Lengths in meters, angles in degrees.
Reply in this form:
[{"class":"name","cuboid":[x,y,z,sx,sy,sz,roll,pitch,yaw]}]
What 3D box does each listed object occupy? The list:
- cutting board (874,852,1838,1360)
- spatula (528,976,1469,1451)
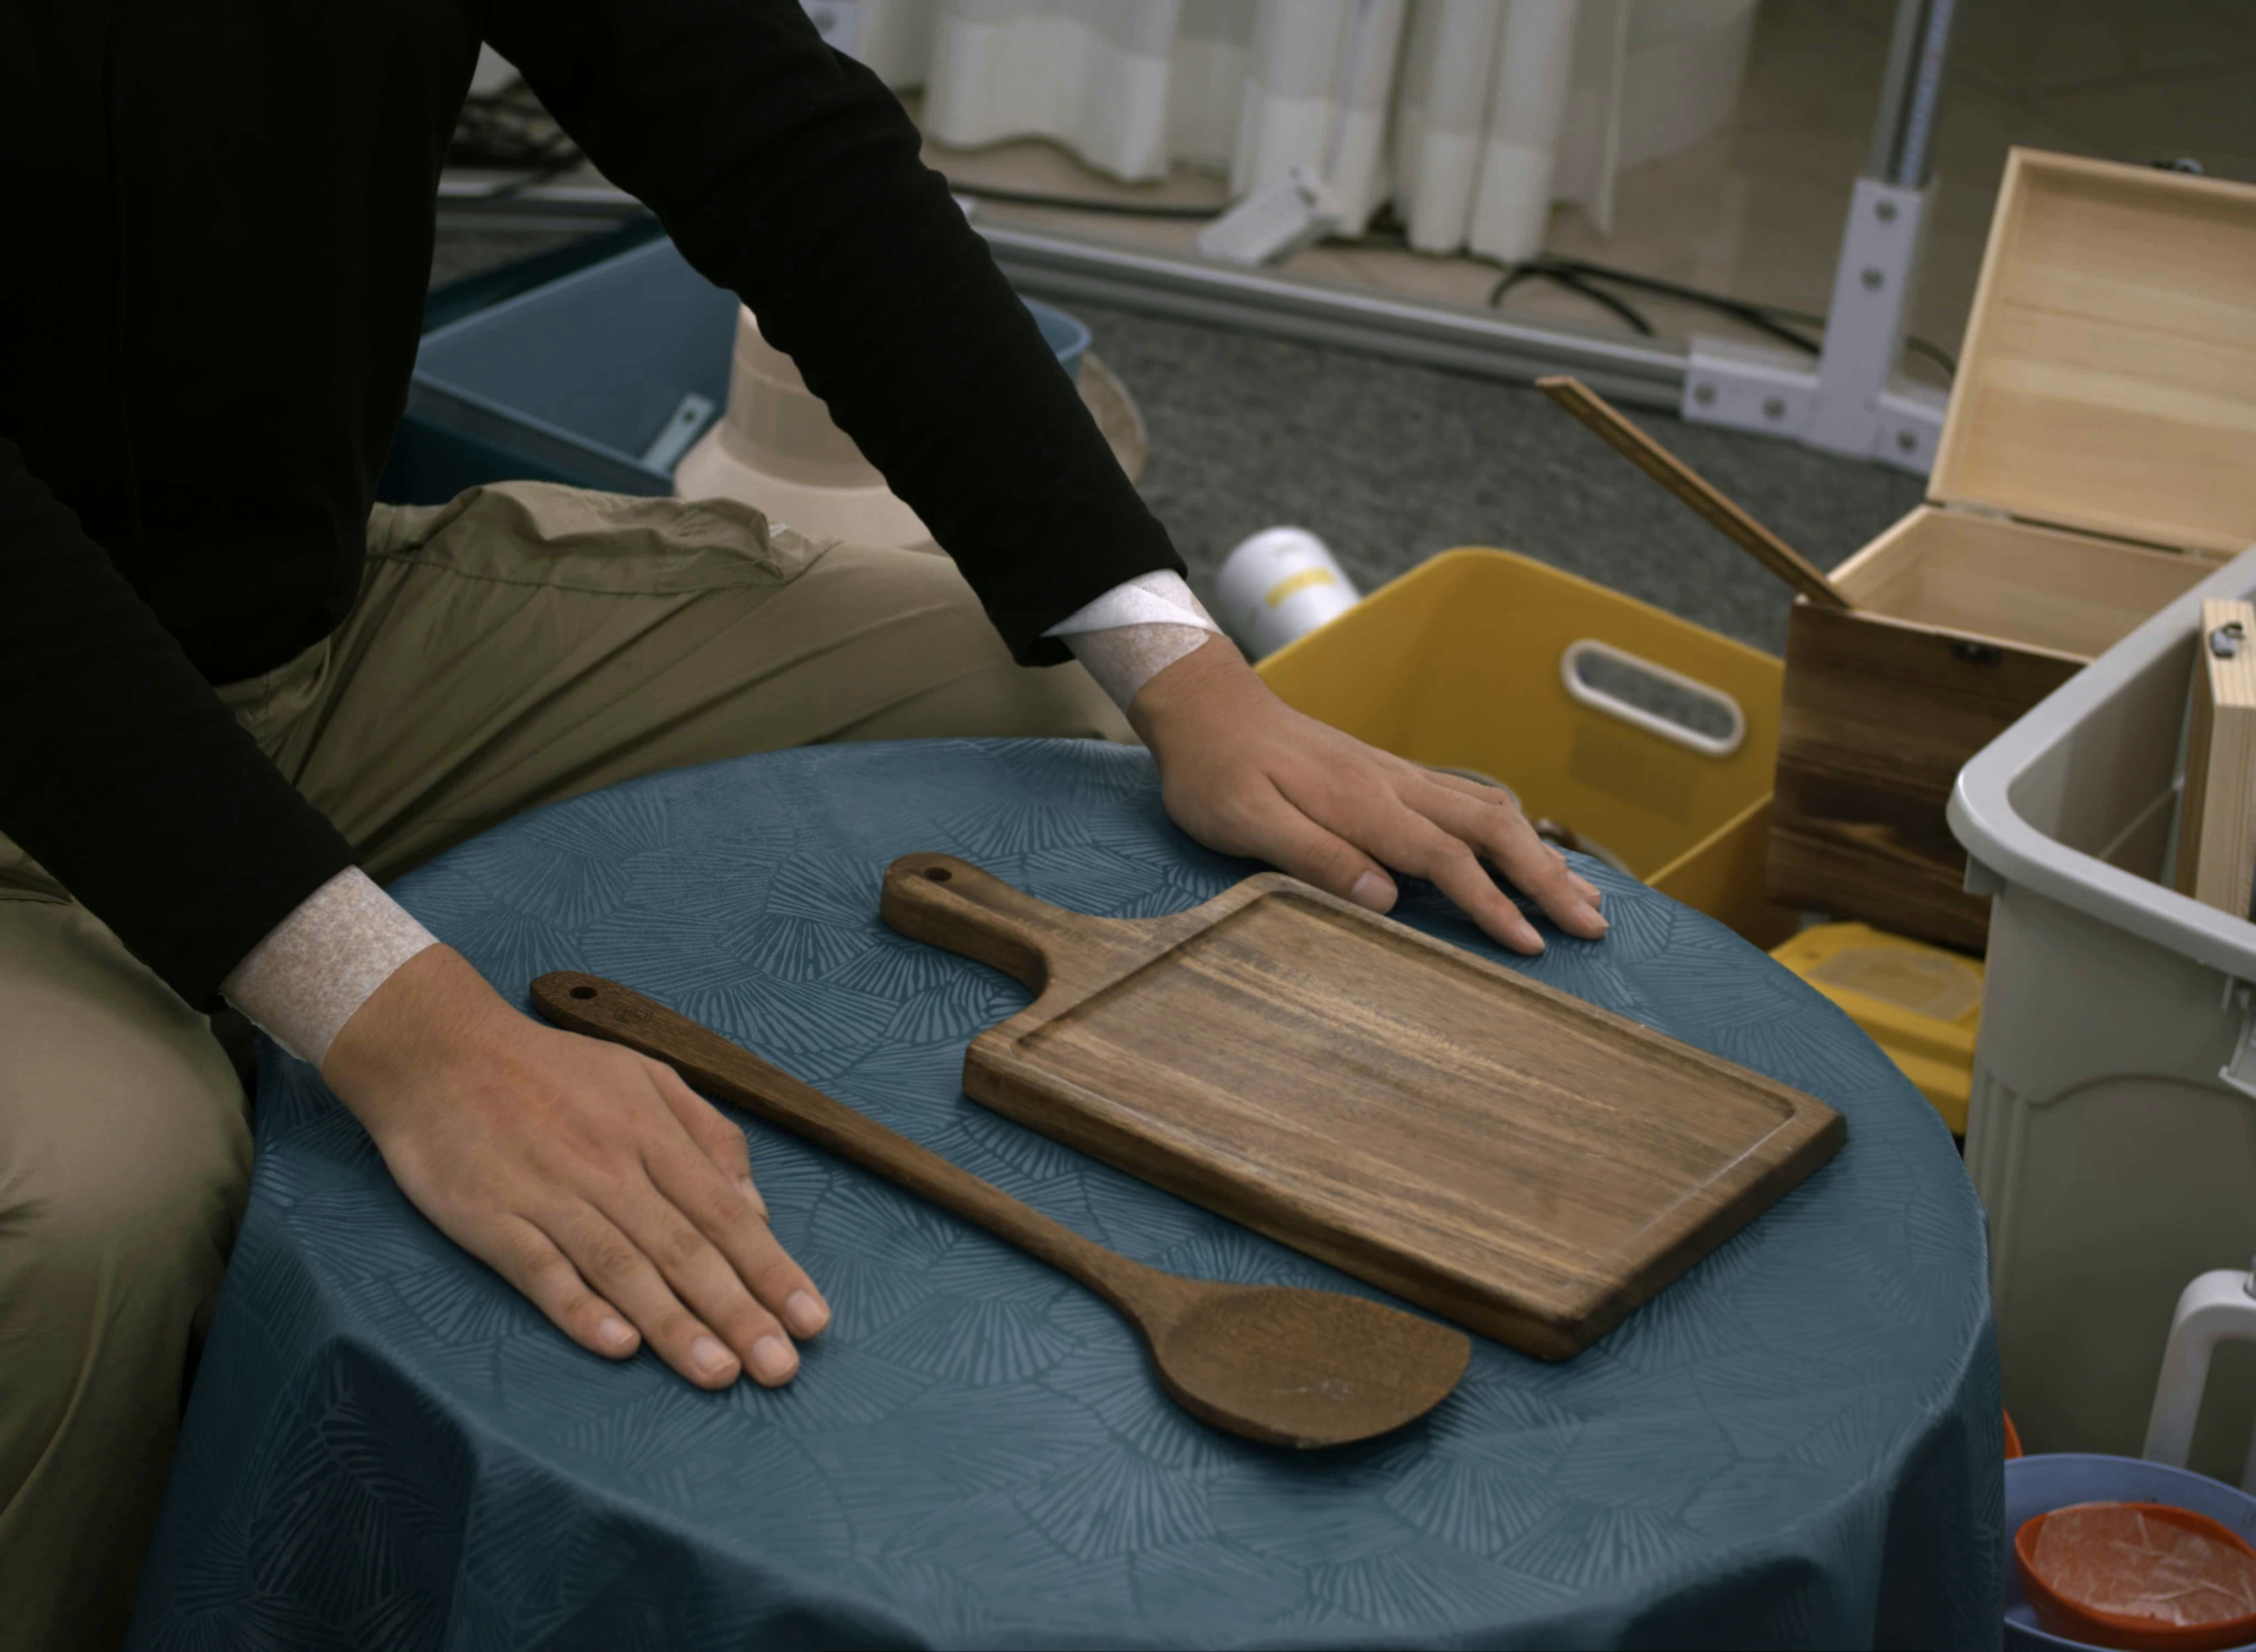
[{"class":"cutting board","cuboid":[0.056,0.079,1.880,0.354,0.023,0.200,22,31,28]},{"class":"spatula","cuboid":[-0.059,0.121,1.777,0.388,0.016,0.096,24,31,32]}]
